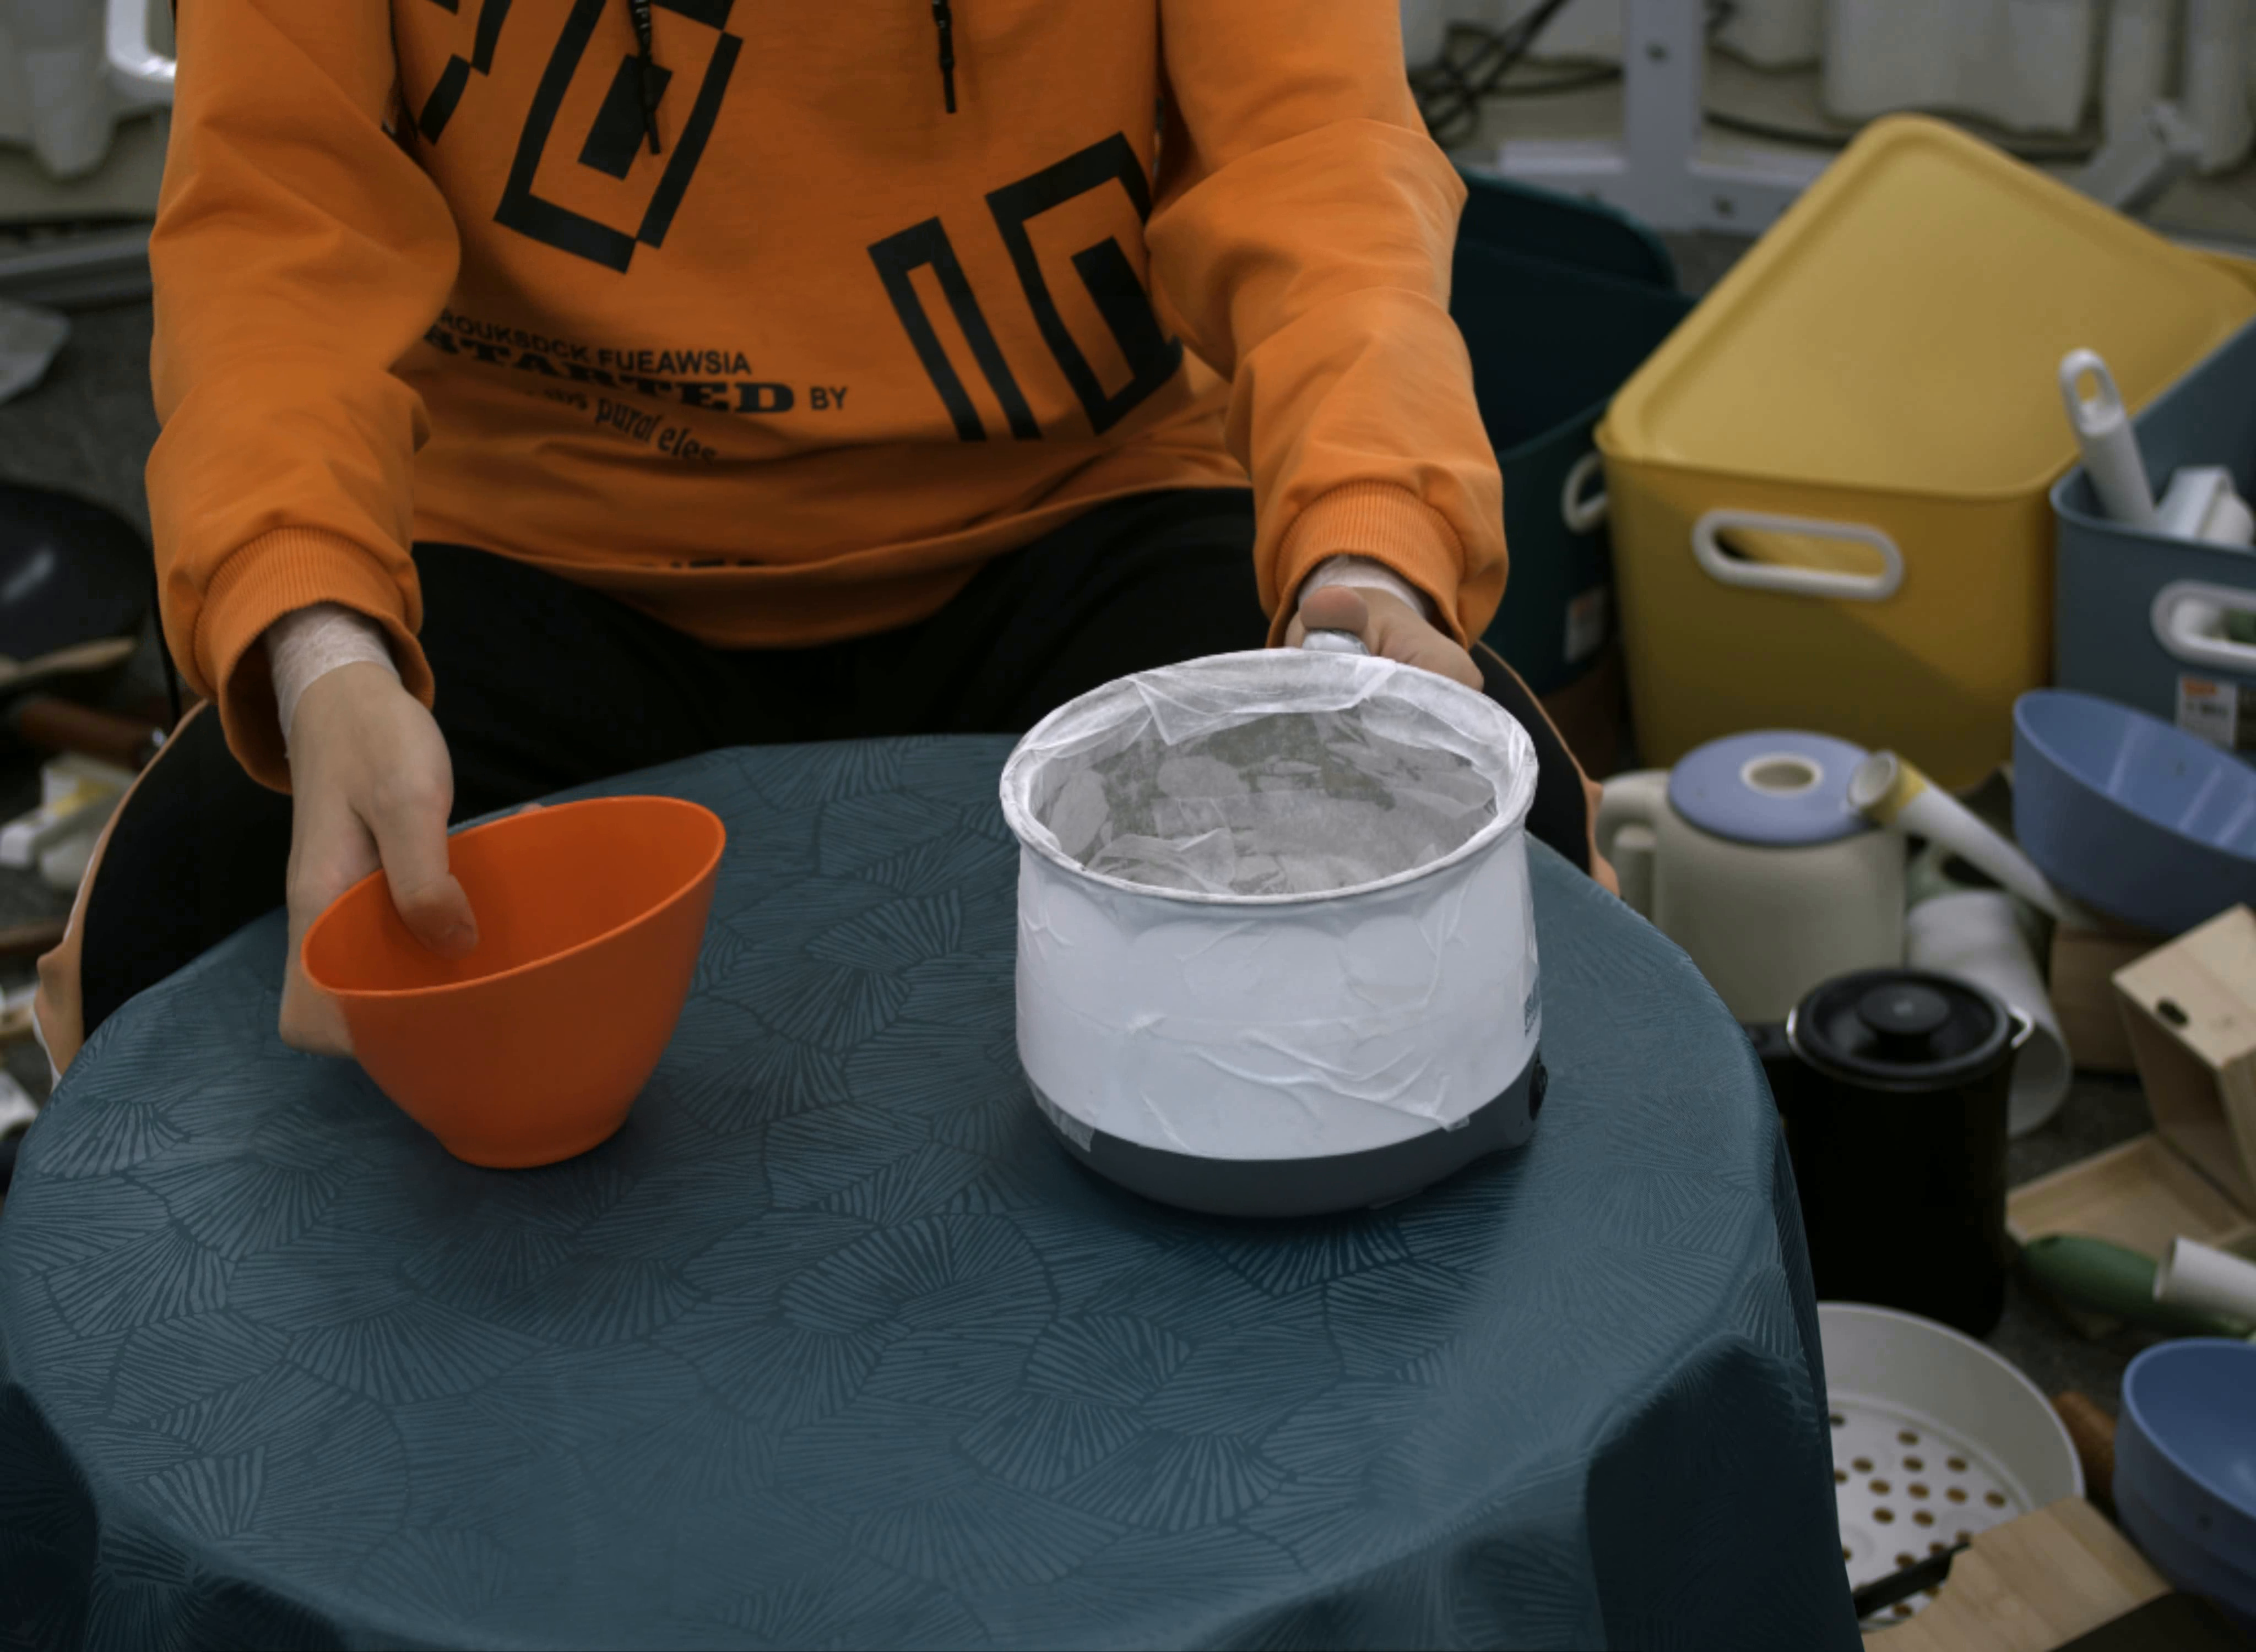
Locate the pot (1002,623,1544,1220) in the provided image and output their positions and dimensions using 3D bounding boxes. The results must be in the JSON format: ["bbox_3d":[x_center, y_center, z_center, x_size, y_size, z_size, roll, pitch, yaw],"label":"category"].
[{"bbox_3d":[0.055,0.025,1.896,0.177,0.135,0.238,3,28,11],"label":"pot"}]

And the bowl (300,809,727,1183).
[{"bbox_3d":[-0.200,0.062,1.890,0.147,0.103,0.150,-7,25,4],"label":"bowl"}]
